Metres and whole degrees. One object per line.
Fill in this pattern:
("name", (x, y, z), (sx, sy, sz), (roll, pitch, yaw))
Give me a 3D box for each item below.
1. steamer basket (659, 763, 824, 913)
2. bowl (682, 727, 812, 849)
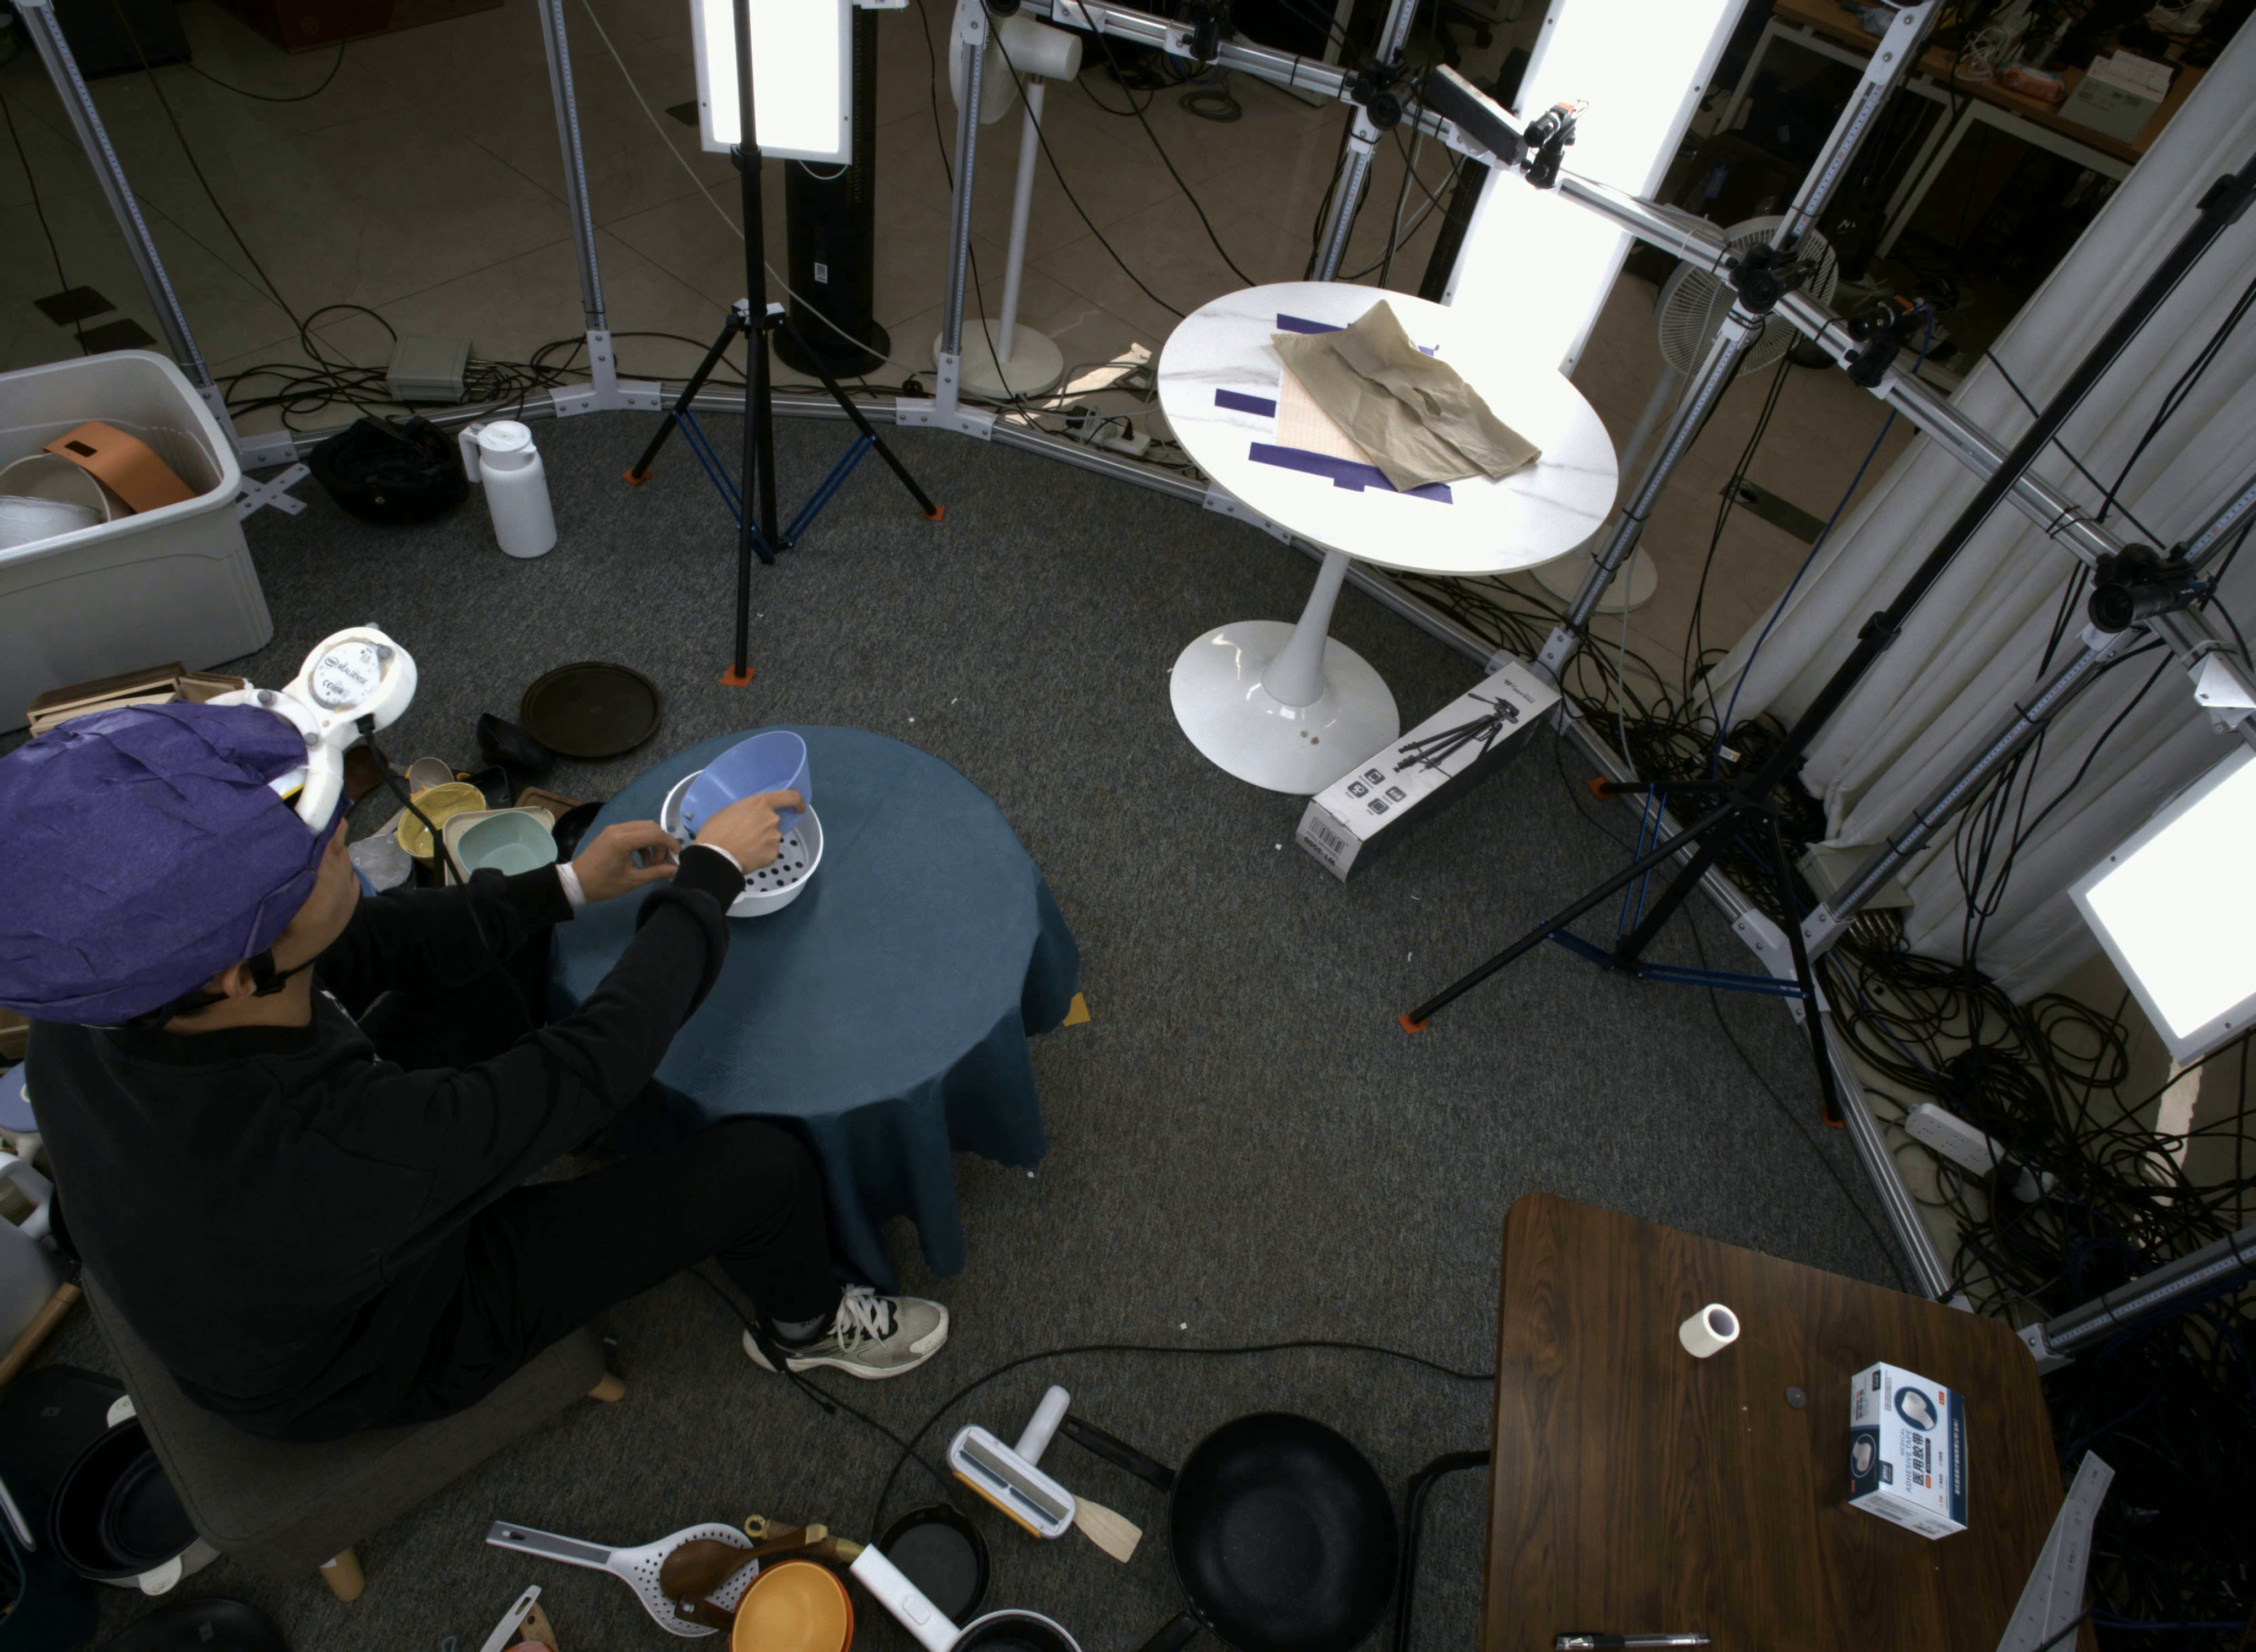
("steamer basket", (-0.490, 0.015, 1.632), (0.204, 0.069, 0.226), (24, 43, -15))
("bowl", (-0.456, -0.037, 1.589), (0.173, 0.073, 0.172), (-16, 40, 16))
